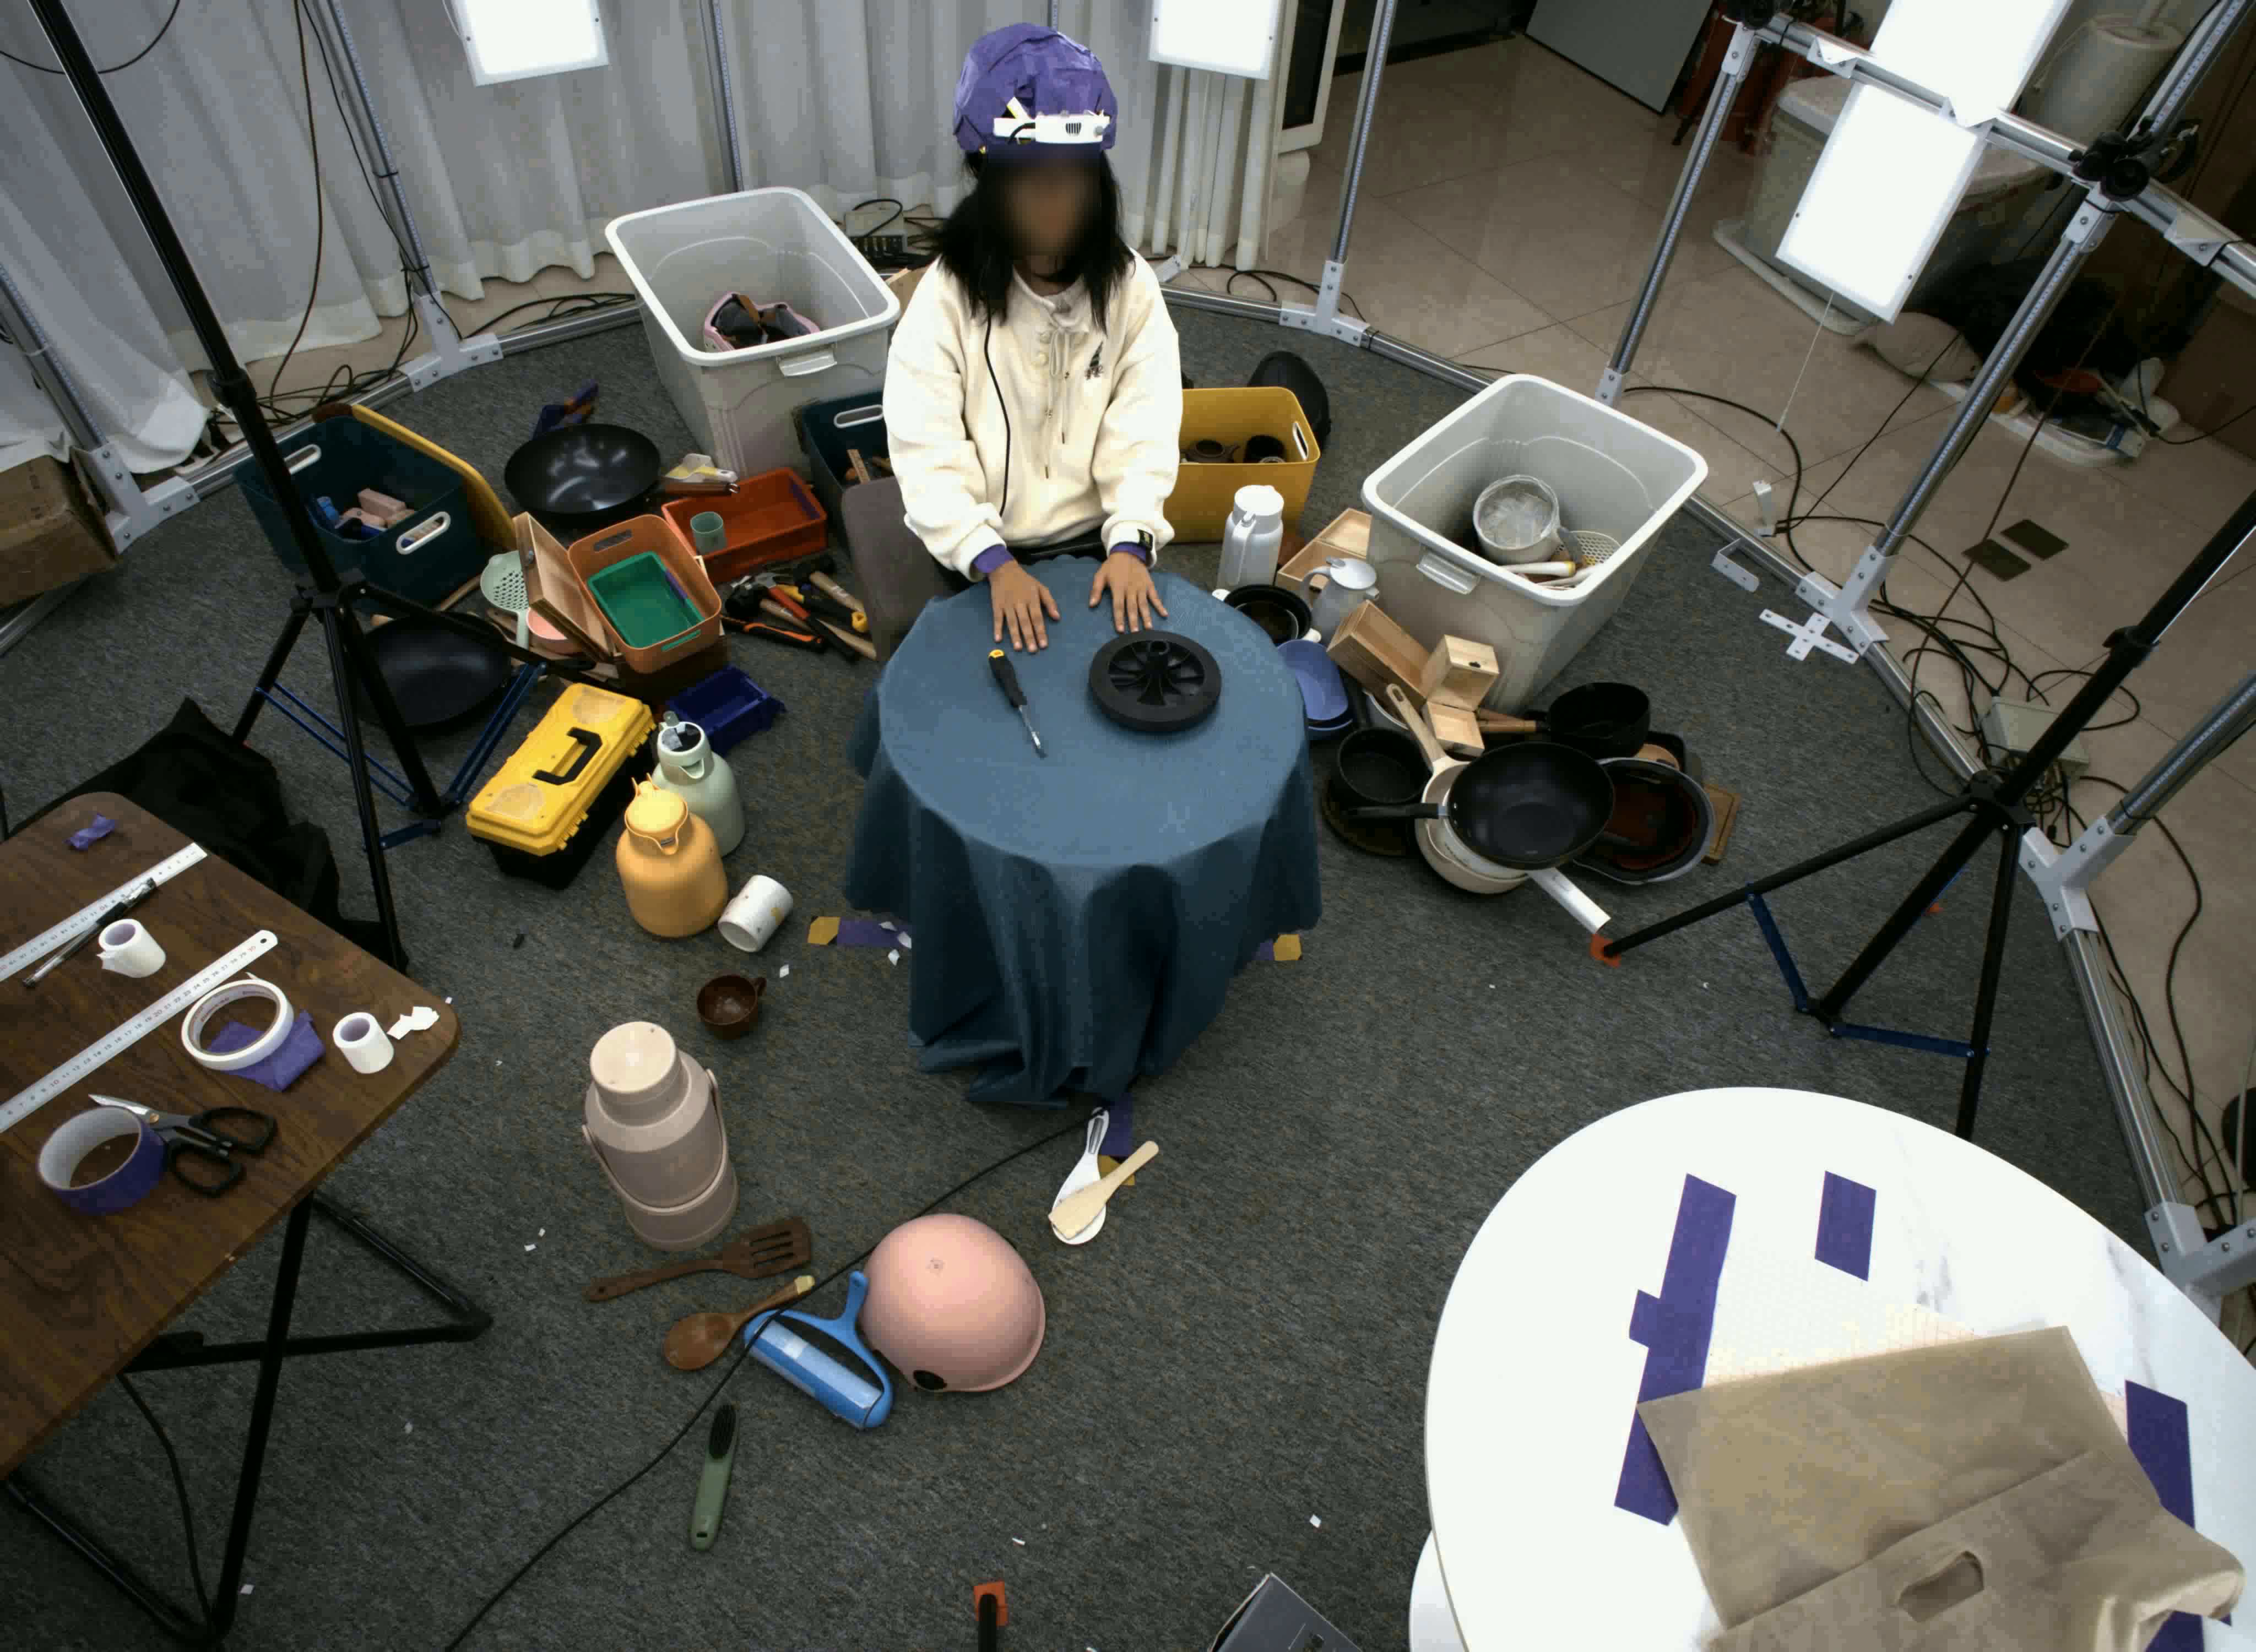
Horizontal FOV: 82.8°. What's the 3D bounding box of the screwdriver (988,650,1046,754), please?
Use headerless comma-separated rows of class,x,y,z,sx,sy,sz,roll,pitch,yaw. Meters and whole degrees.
screwdriver,-0.157,-0.173,1.793,0.031,0.031,0.202,-14,54,-16

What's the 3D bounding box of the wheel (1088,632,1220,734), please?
wheel,0.038,-0.219,1.815,0.190,0.077,0.191,-20,53,-16
